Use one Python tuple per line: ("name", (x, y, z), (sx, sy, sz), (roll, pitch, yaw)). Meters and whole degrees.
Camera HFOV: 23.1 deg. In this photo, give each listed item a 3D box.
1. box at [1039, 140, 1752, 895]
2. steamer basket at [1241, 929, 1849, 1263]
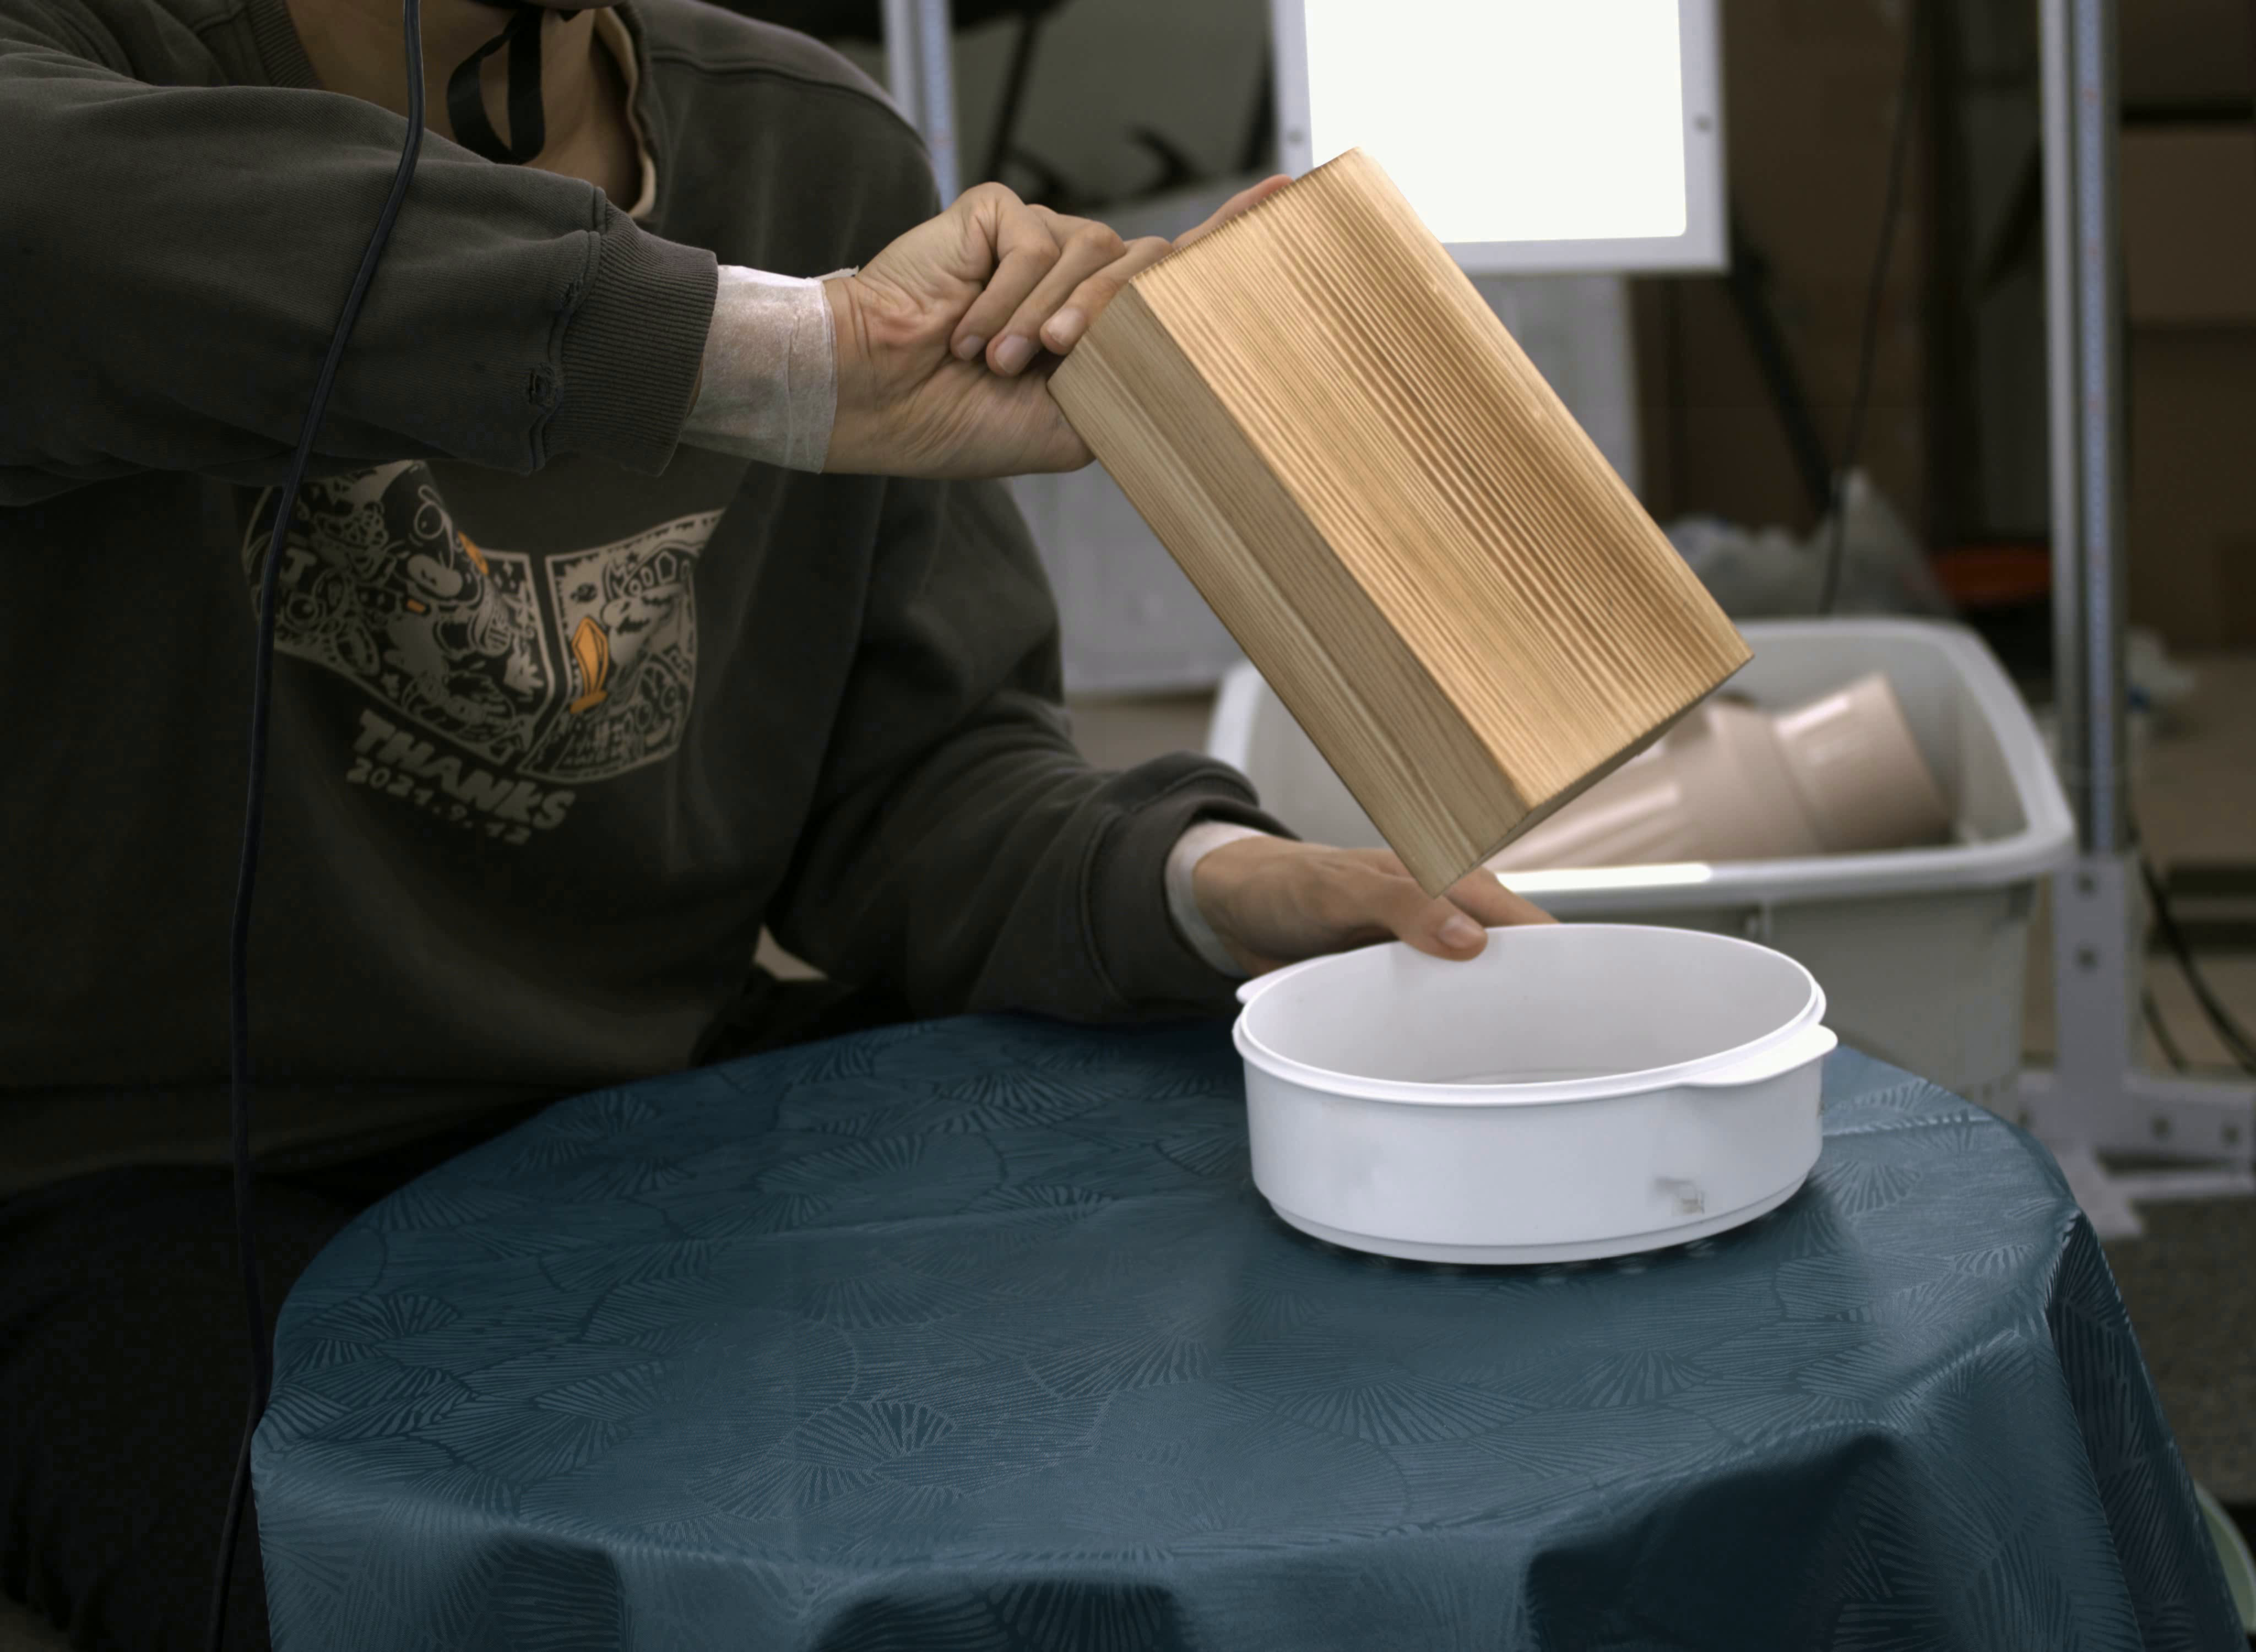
("box", (0.085, -0.100, 1.764), (0.105, 0.212, 0.081), (-33, -8, -28))
("steamer basket", (0.140, 0.090, 1.849), (0.197, 0.069, 0.235), (-17, 17, -42))
